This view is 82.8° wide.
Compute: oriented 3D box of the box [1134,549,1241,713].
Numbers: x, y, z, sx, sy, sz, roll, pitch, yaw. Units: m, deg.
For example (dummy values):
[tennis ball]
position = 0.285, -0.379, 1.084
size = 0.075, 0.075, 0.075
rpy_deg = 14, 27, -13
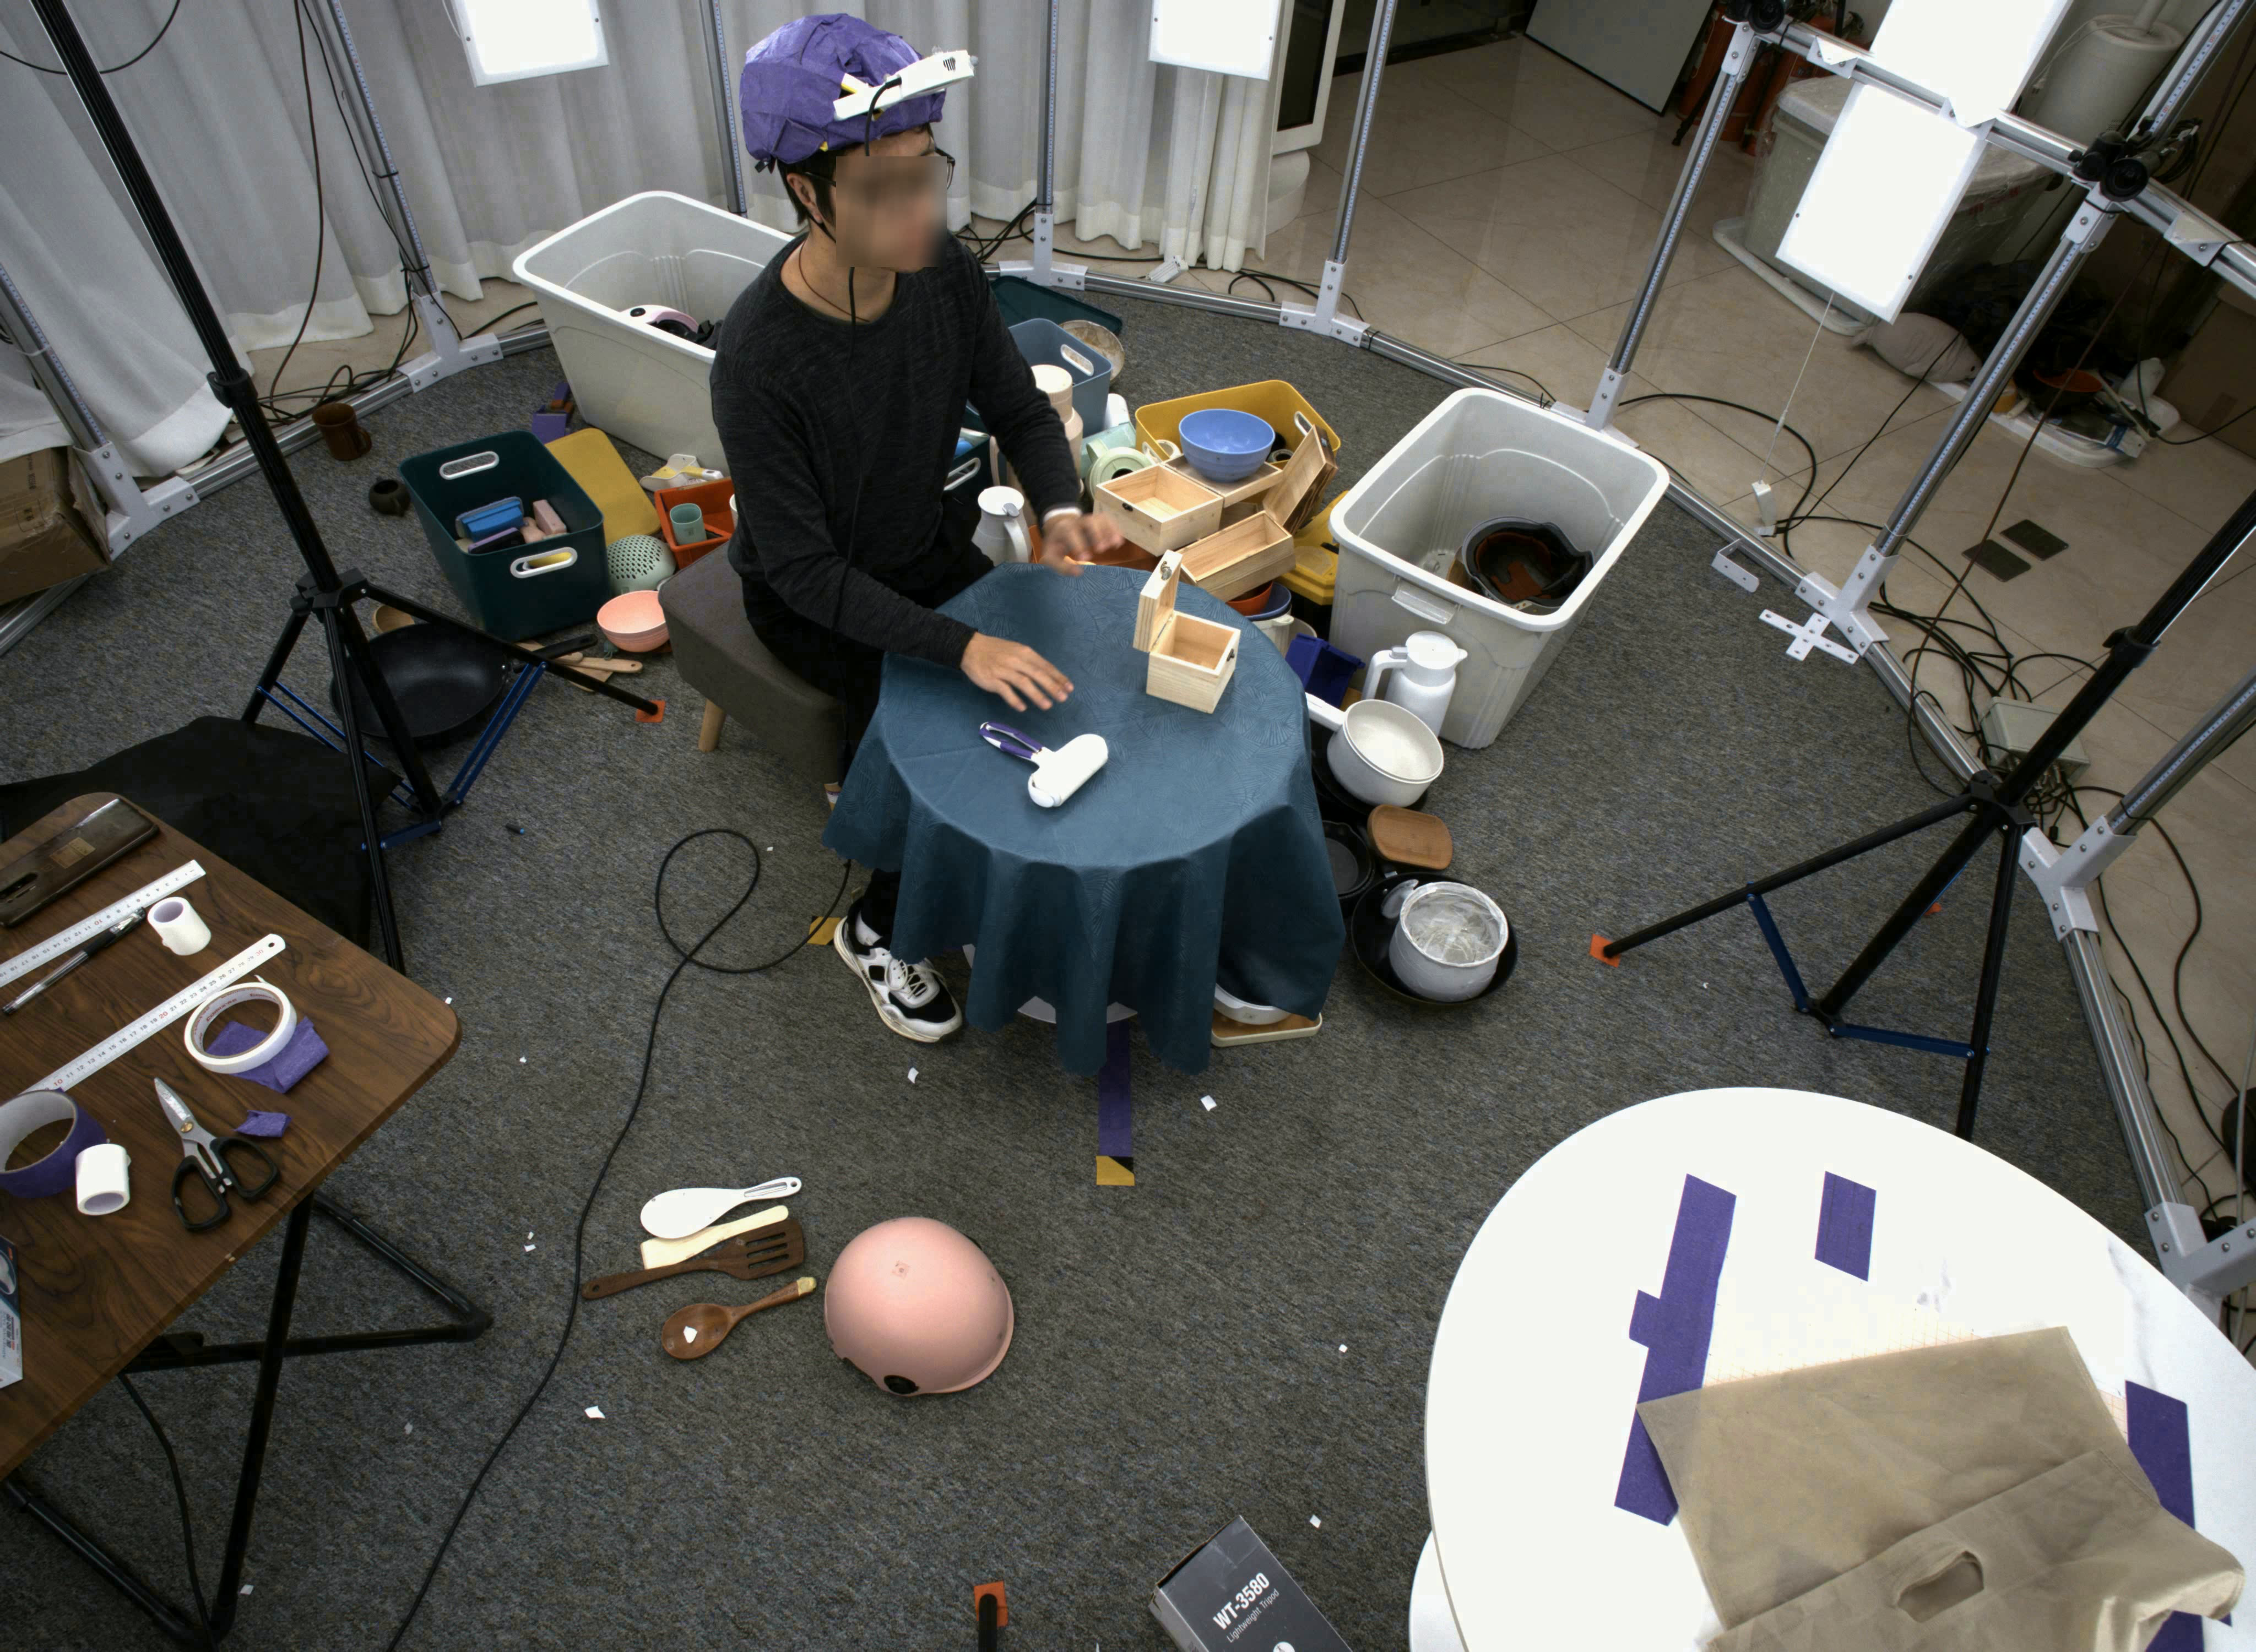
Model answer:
[box]
position = 0.087, -0.271, 1.793
size = 0.134, 0.180, 0.104
rpy_deg = 19, 50, 12

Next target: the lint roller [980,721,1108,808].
[lint roller]
position = -0.127, -0.107, 1.724
size = 0.183, 0.049, 0.134
rpy_deg = 34, 57, 21
